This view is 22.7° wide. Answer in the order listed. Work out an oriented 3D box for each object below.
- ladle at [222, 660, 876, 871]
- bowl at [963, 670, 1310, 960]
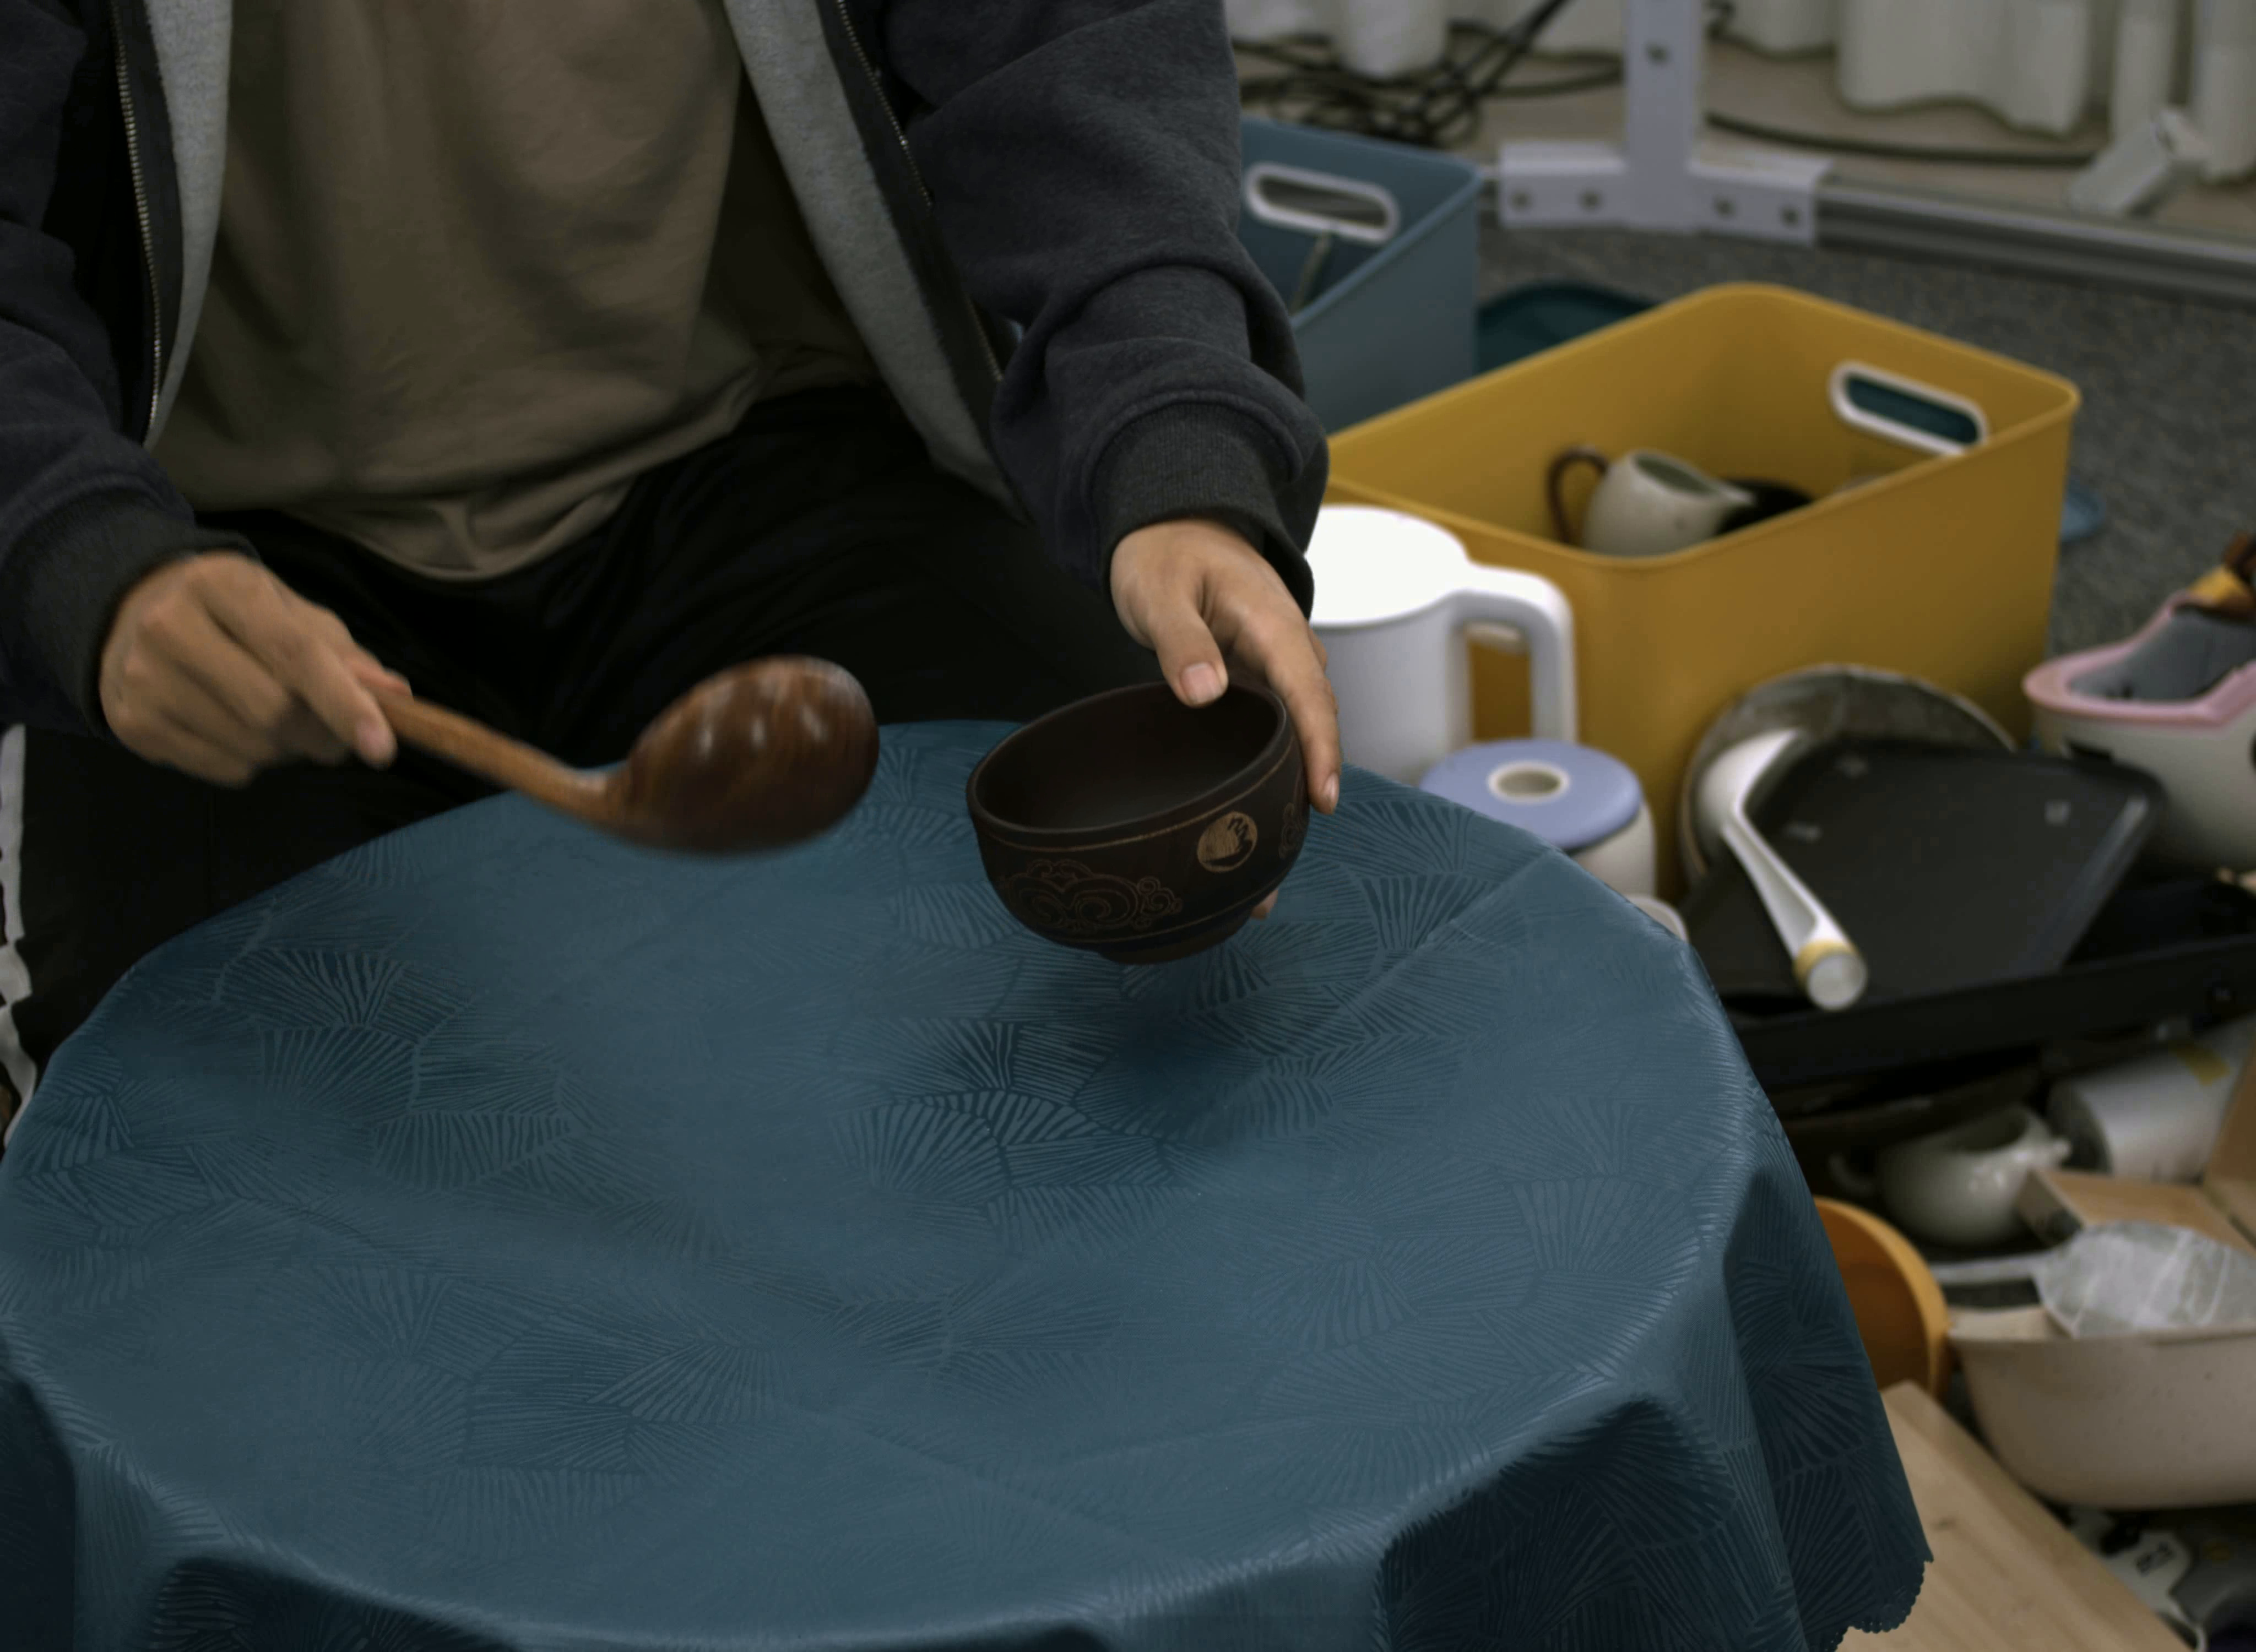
[{"bbox_3d":[-0.195,-0.042,1.849,0.273,0.081,0.077,18,75,41],"label":"ladle"},{"bbox_3d":[0.007,0.003,1.928,0.117,0.069,0.119,-13,23,6],"label":"bowl"}]
